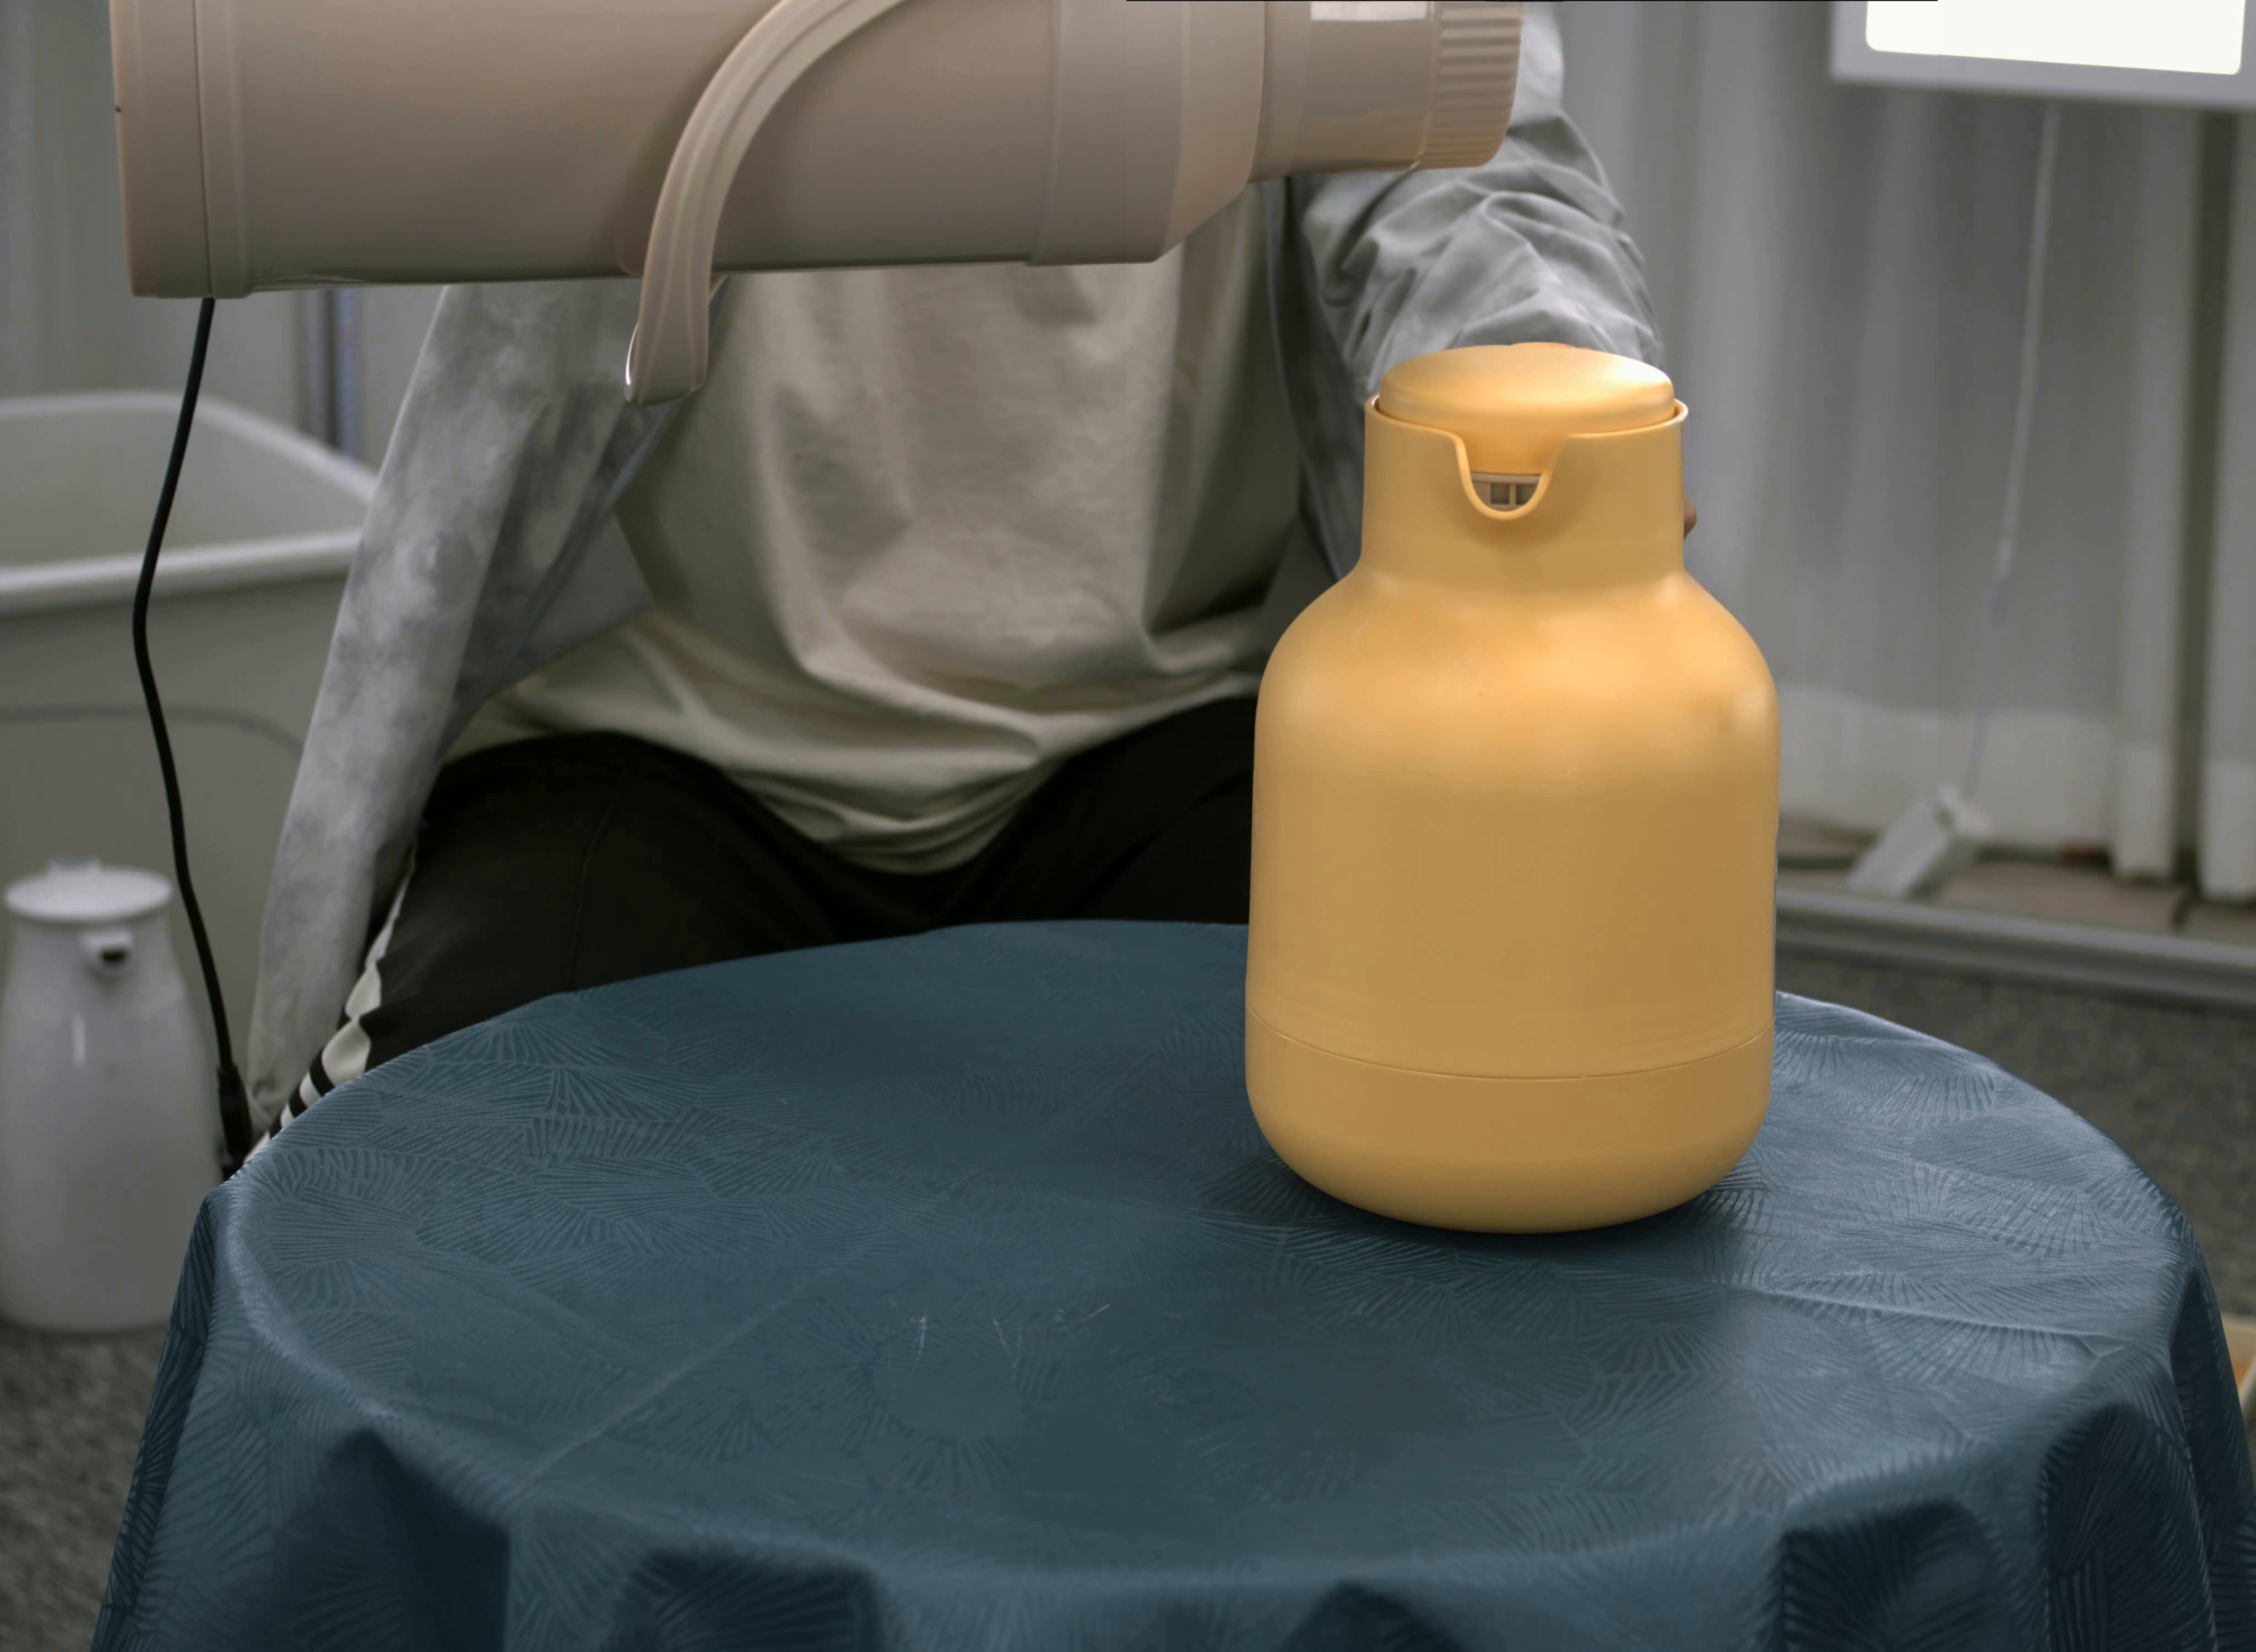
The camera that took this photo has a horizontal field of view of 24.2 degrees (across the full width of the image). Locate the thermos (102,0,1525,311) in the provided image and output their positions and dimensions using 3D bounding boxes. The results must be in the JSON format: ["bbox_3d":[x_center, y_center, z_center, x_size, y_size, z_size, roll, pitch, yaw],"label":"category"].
[{"bbox_3d":[-0.094,-0.254,1.524,0.406,0.207,0.175,-3,-11,-8],"label":"thermos"}]

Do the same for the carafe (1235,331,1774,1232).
[{"bbox_3d":[0.121,-0.022,1.623,0.162,0.262,0.202,6,18,9],"label":"carafe"}]
